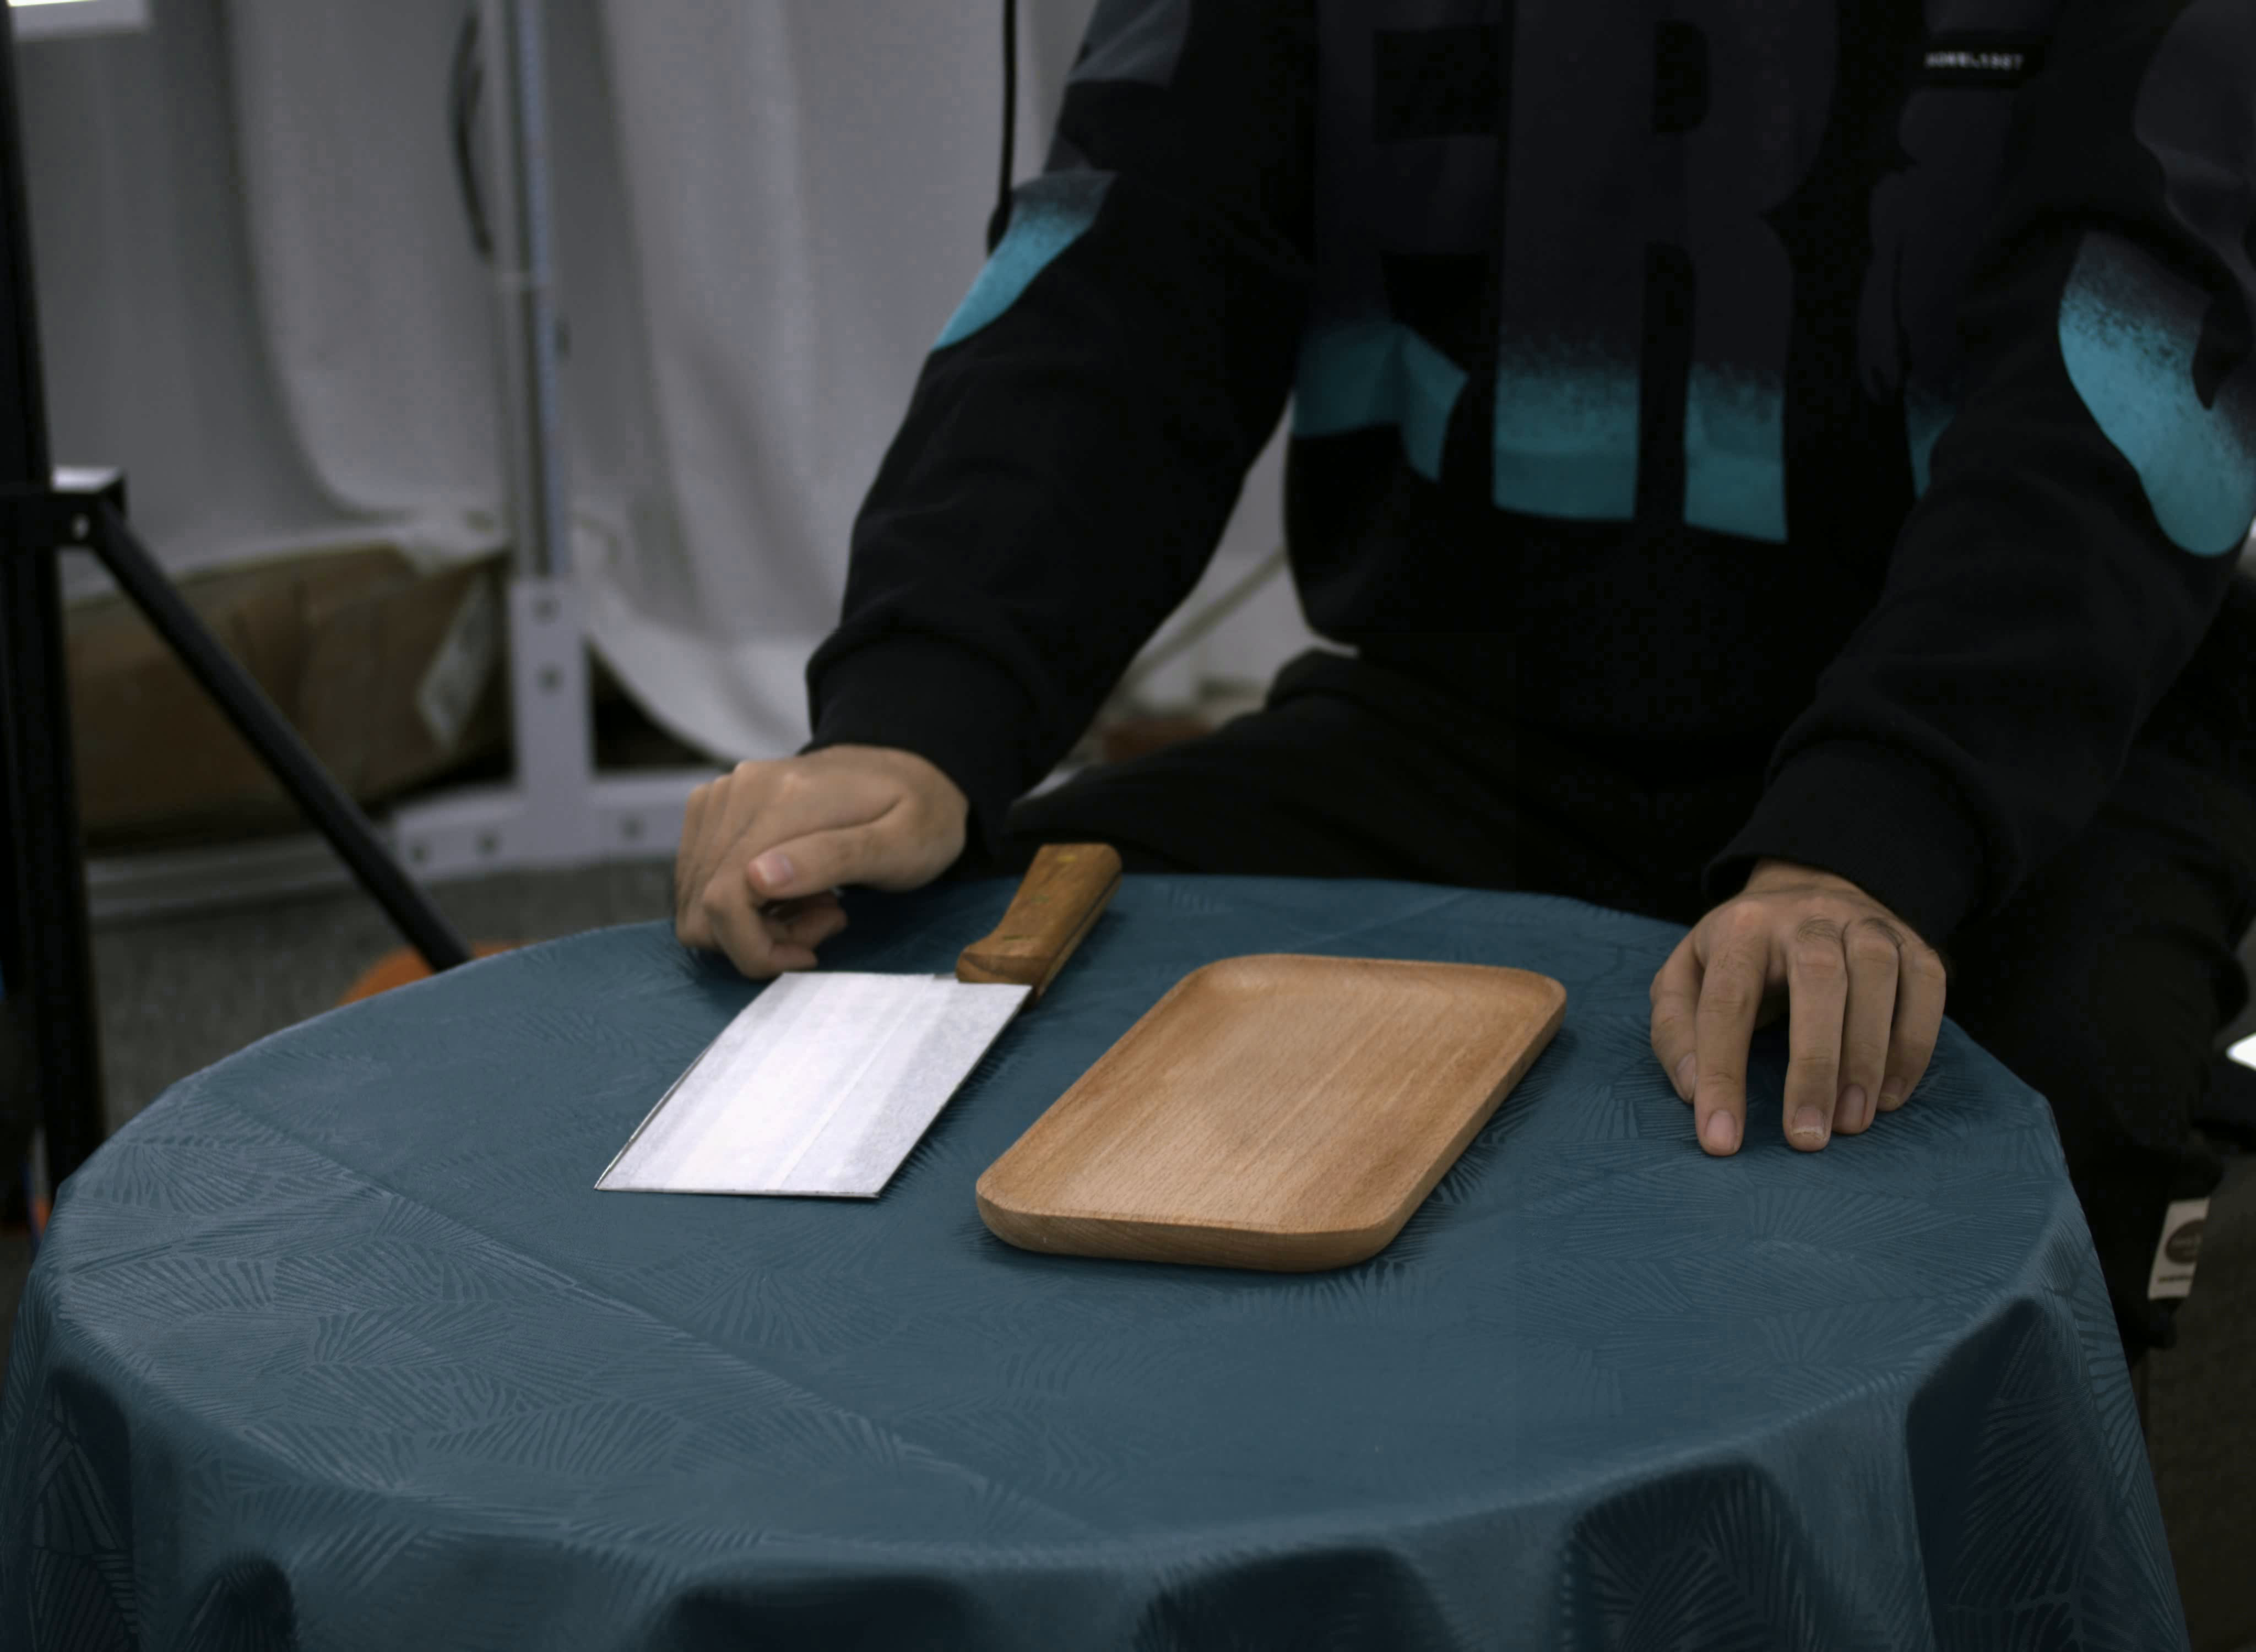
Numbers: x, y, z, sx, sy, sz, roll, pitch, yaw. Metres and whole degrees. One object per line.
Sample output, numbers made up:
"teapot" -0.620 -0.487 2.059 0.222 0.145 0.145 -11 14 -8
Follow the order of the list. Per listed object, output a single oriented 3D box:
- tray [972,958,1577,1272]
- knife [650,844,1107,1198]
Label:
"tray" 0.049 0.085 1.603 0.132 0.023 0.247 5 17 20
"knife" -0.079 0.061 1.709 0.093 0.021 0.303 0 18 15
